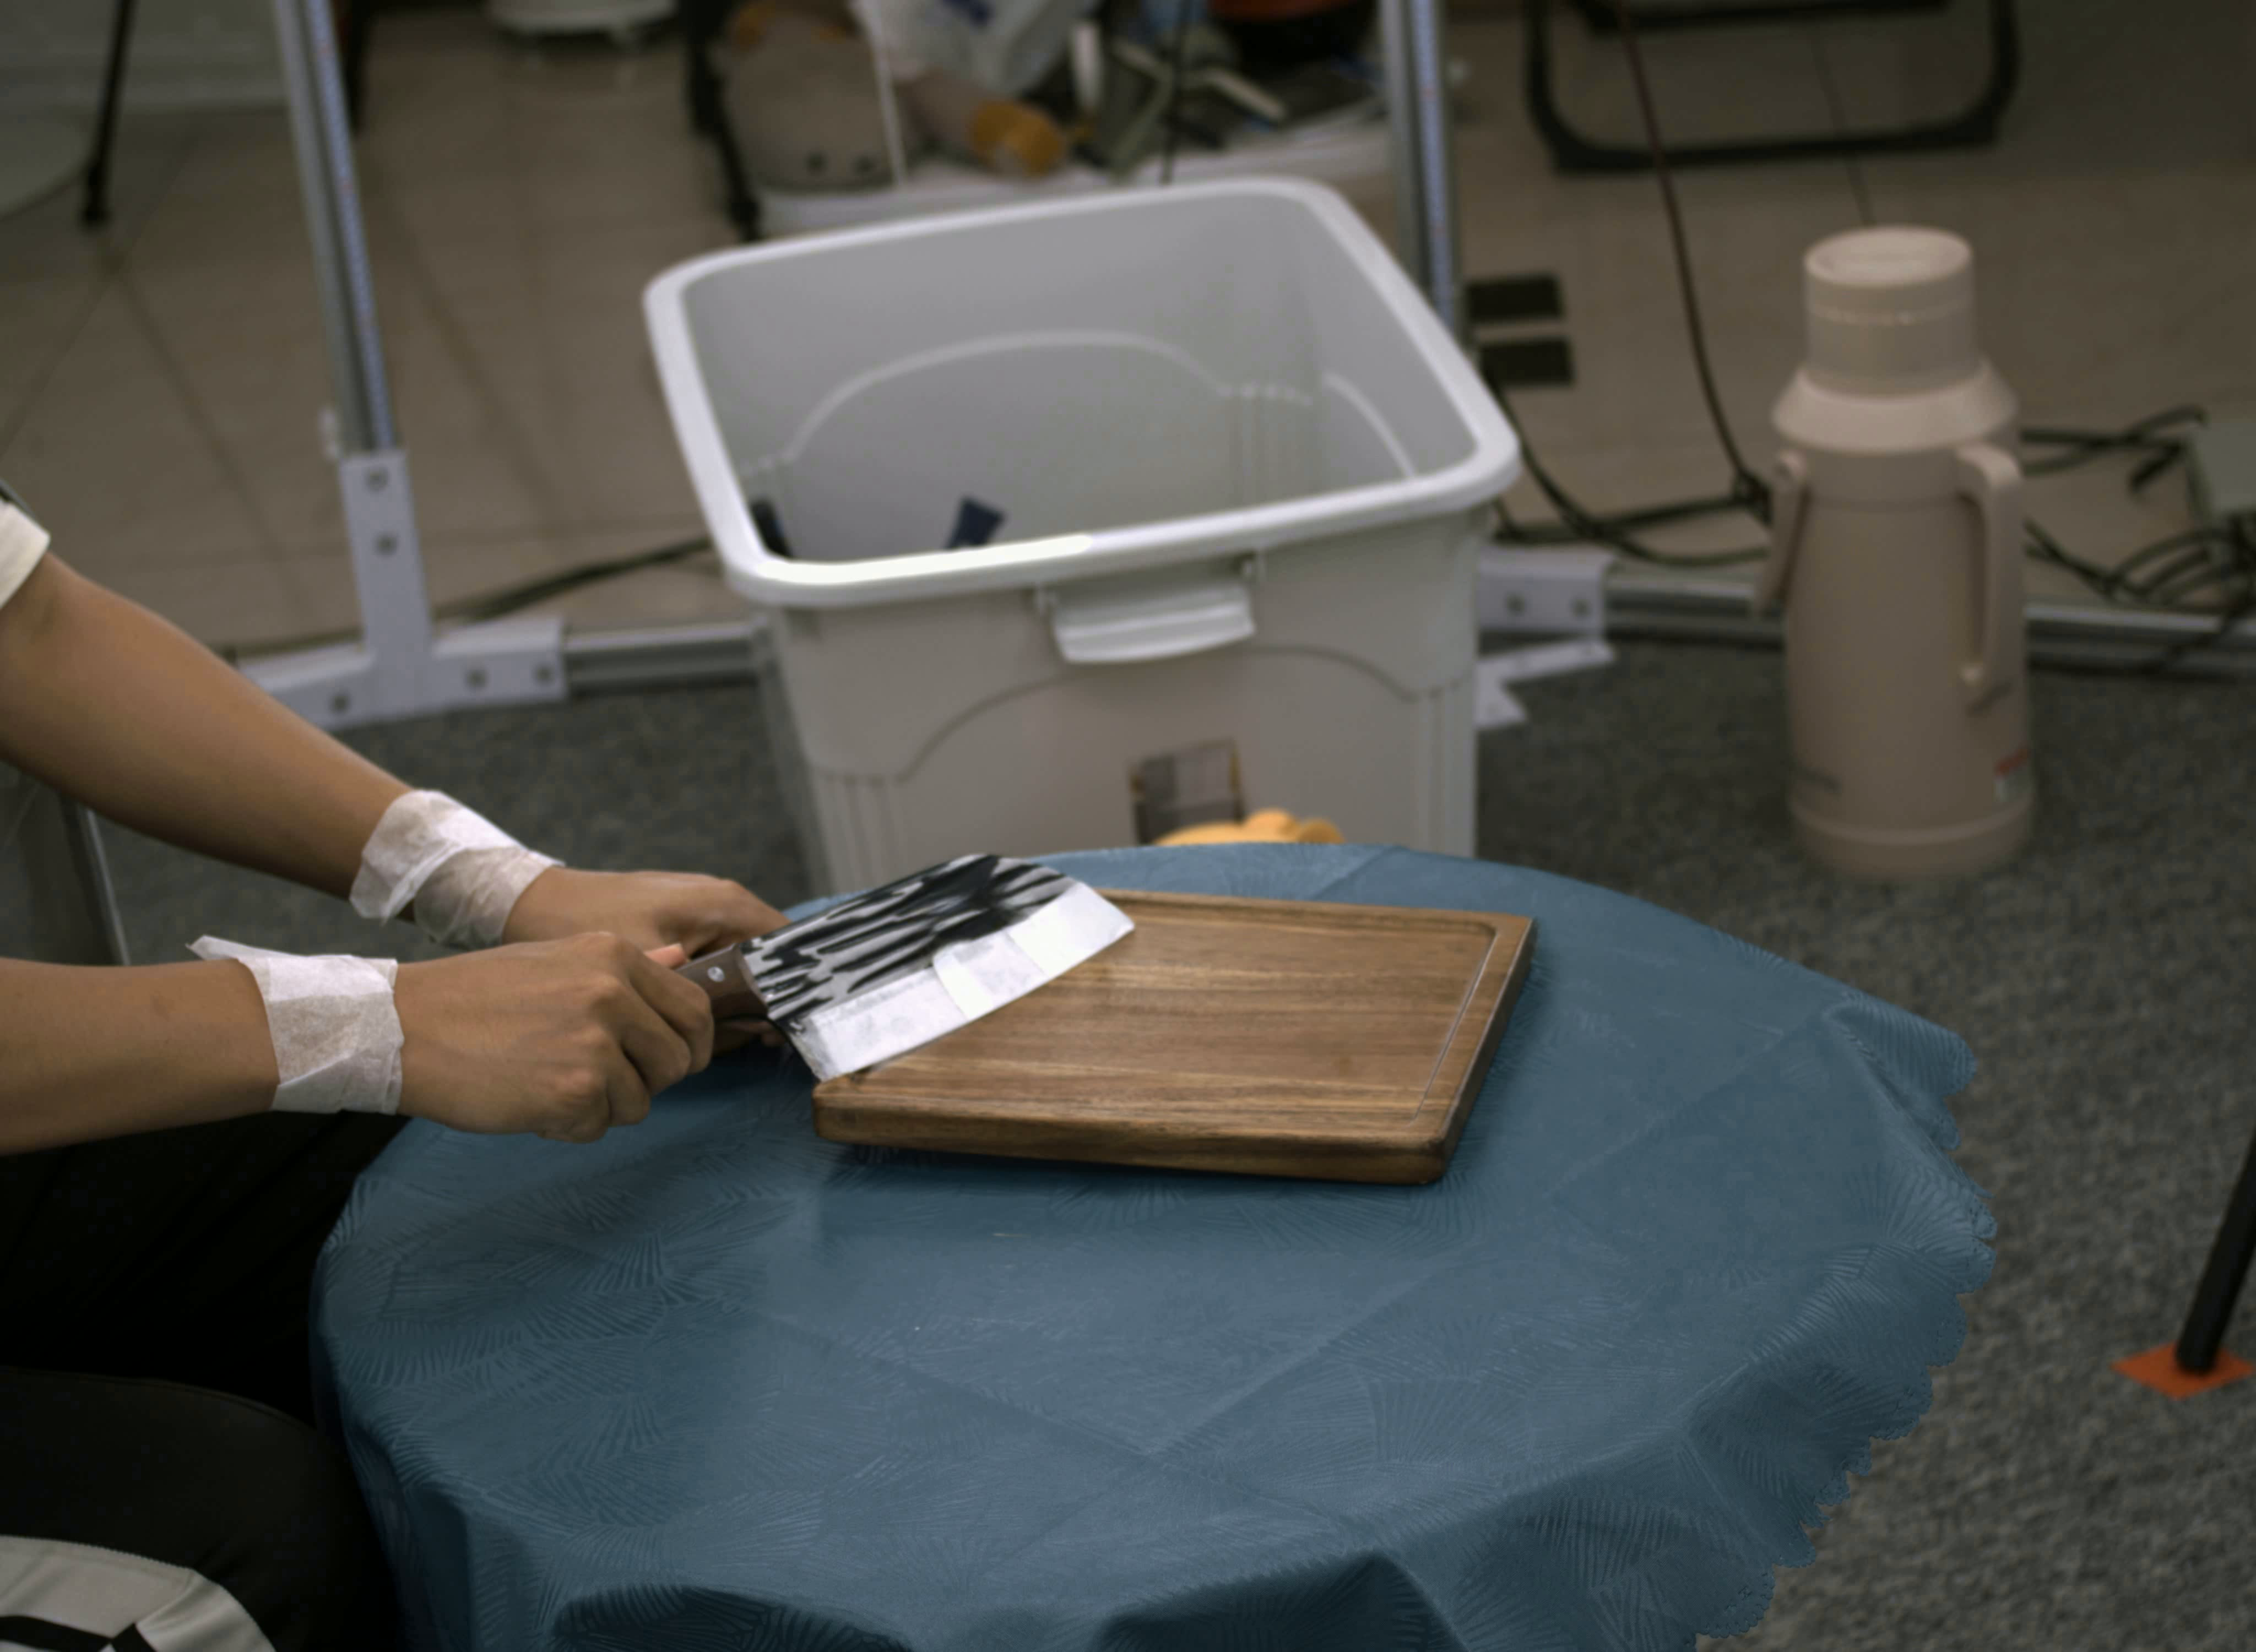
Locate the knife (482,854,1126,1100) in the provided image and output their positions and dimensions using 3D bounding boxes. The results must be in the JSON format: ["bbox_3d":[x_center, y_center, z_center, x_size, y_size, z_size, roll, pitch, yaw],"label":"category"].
[{"bbox_3d":[-0.120,0.064,2.213,0.297,0.024,0.067,-21,70,-39],"label":"knife"}]

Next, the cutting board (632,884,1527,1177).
[{"bbox_3d":[-0.028,0.075,2.250,0.351,0.023,0.198,3,27,14],"label":"cutting board"}]
